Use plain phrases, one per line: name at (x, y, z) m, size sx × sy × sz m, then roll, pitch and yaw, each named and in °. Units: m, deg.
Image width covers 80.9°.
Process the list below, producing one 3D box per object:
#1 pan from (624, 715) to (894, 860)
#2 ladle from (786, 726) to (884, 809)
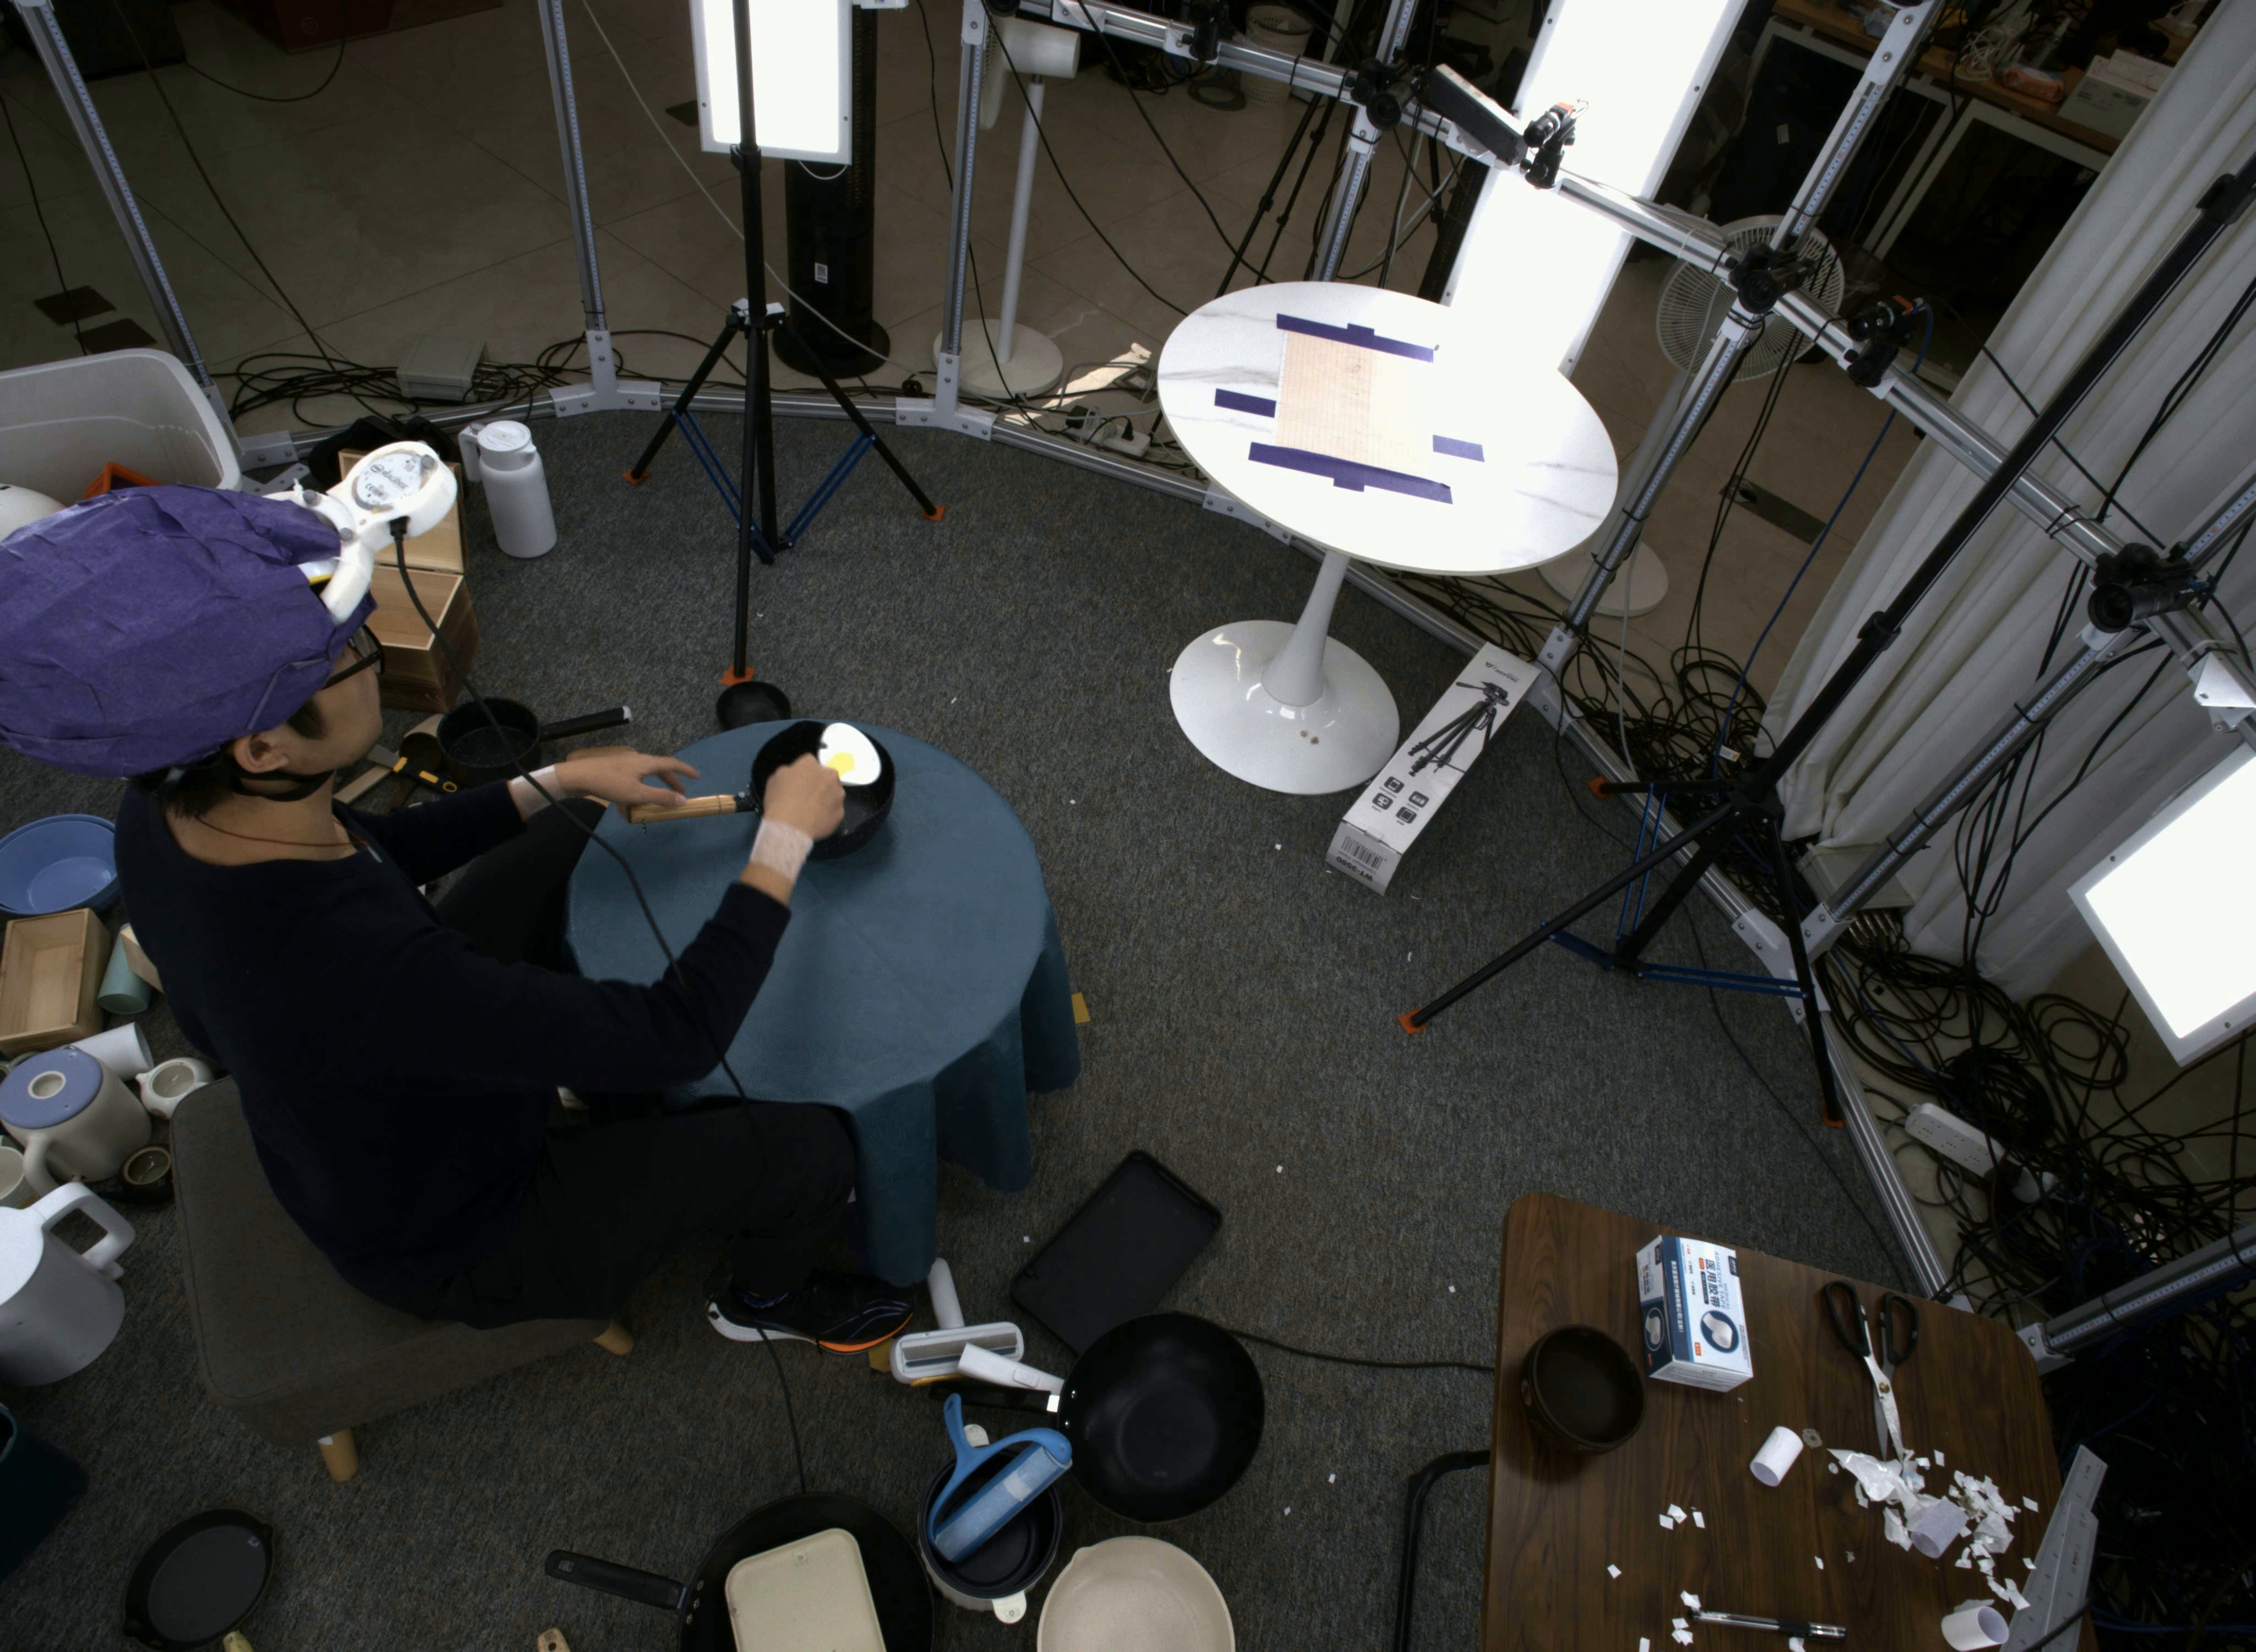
pan at (-0.468, -0.029, 1.654) m, size 0.345 × 0.110 × 0.202 m, roll -16°, pitch 60°, yaw -27°
ladle at (-0.346, -0.064, 1.538) m, size 0.069 × 0.289 × 0.092 m, roll -30°, pitch 99°, yaw 1°
